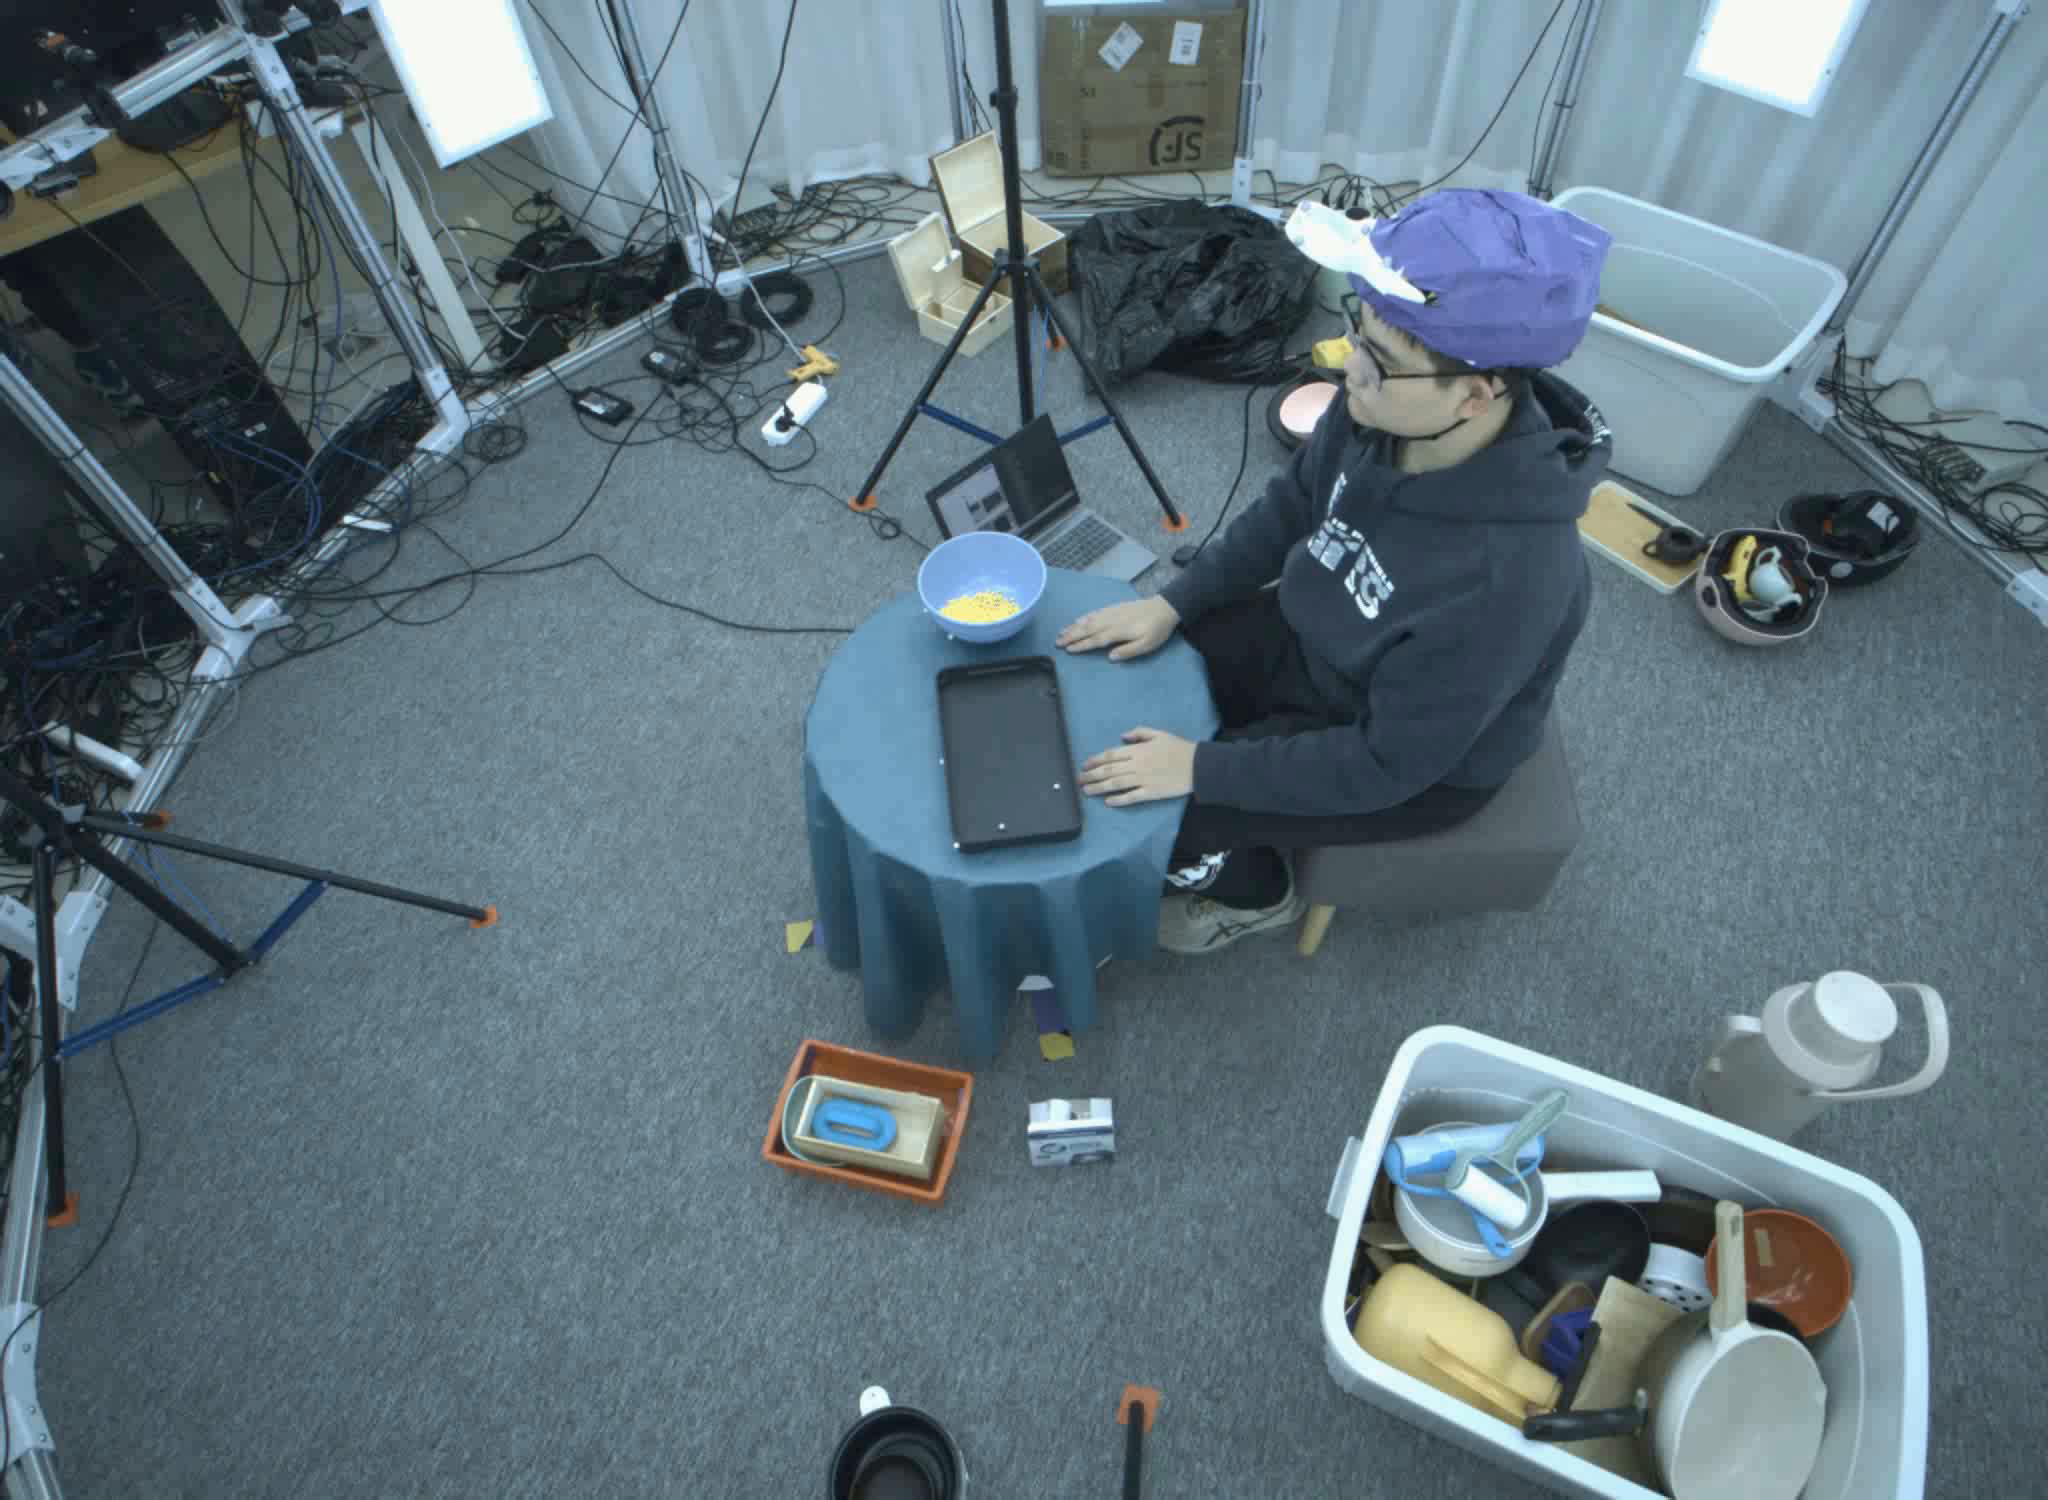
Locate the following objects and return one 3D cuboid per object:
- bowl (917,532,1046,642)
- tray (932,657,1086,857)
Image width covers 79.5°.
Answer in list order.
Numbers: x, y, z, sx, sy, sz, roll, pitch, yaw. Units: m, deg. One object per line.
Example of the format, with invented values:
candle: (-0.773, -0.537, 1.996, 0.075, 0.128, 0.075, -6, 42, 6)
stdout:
bowl: (-0.063, -0.237, 1.898, 0.196, 0.096, 0.194, 0, 54, 2)
tray: (-0.025, 0.005, 1.765, 0.185, 0.037, 0.313, -8, 54, -5)
